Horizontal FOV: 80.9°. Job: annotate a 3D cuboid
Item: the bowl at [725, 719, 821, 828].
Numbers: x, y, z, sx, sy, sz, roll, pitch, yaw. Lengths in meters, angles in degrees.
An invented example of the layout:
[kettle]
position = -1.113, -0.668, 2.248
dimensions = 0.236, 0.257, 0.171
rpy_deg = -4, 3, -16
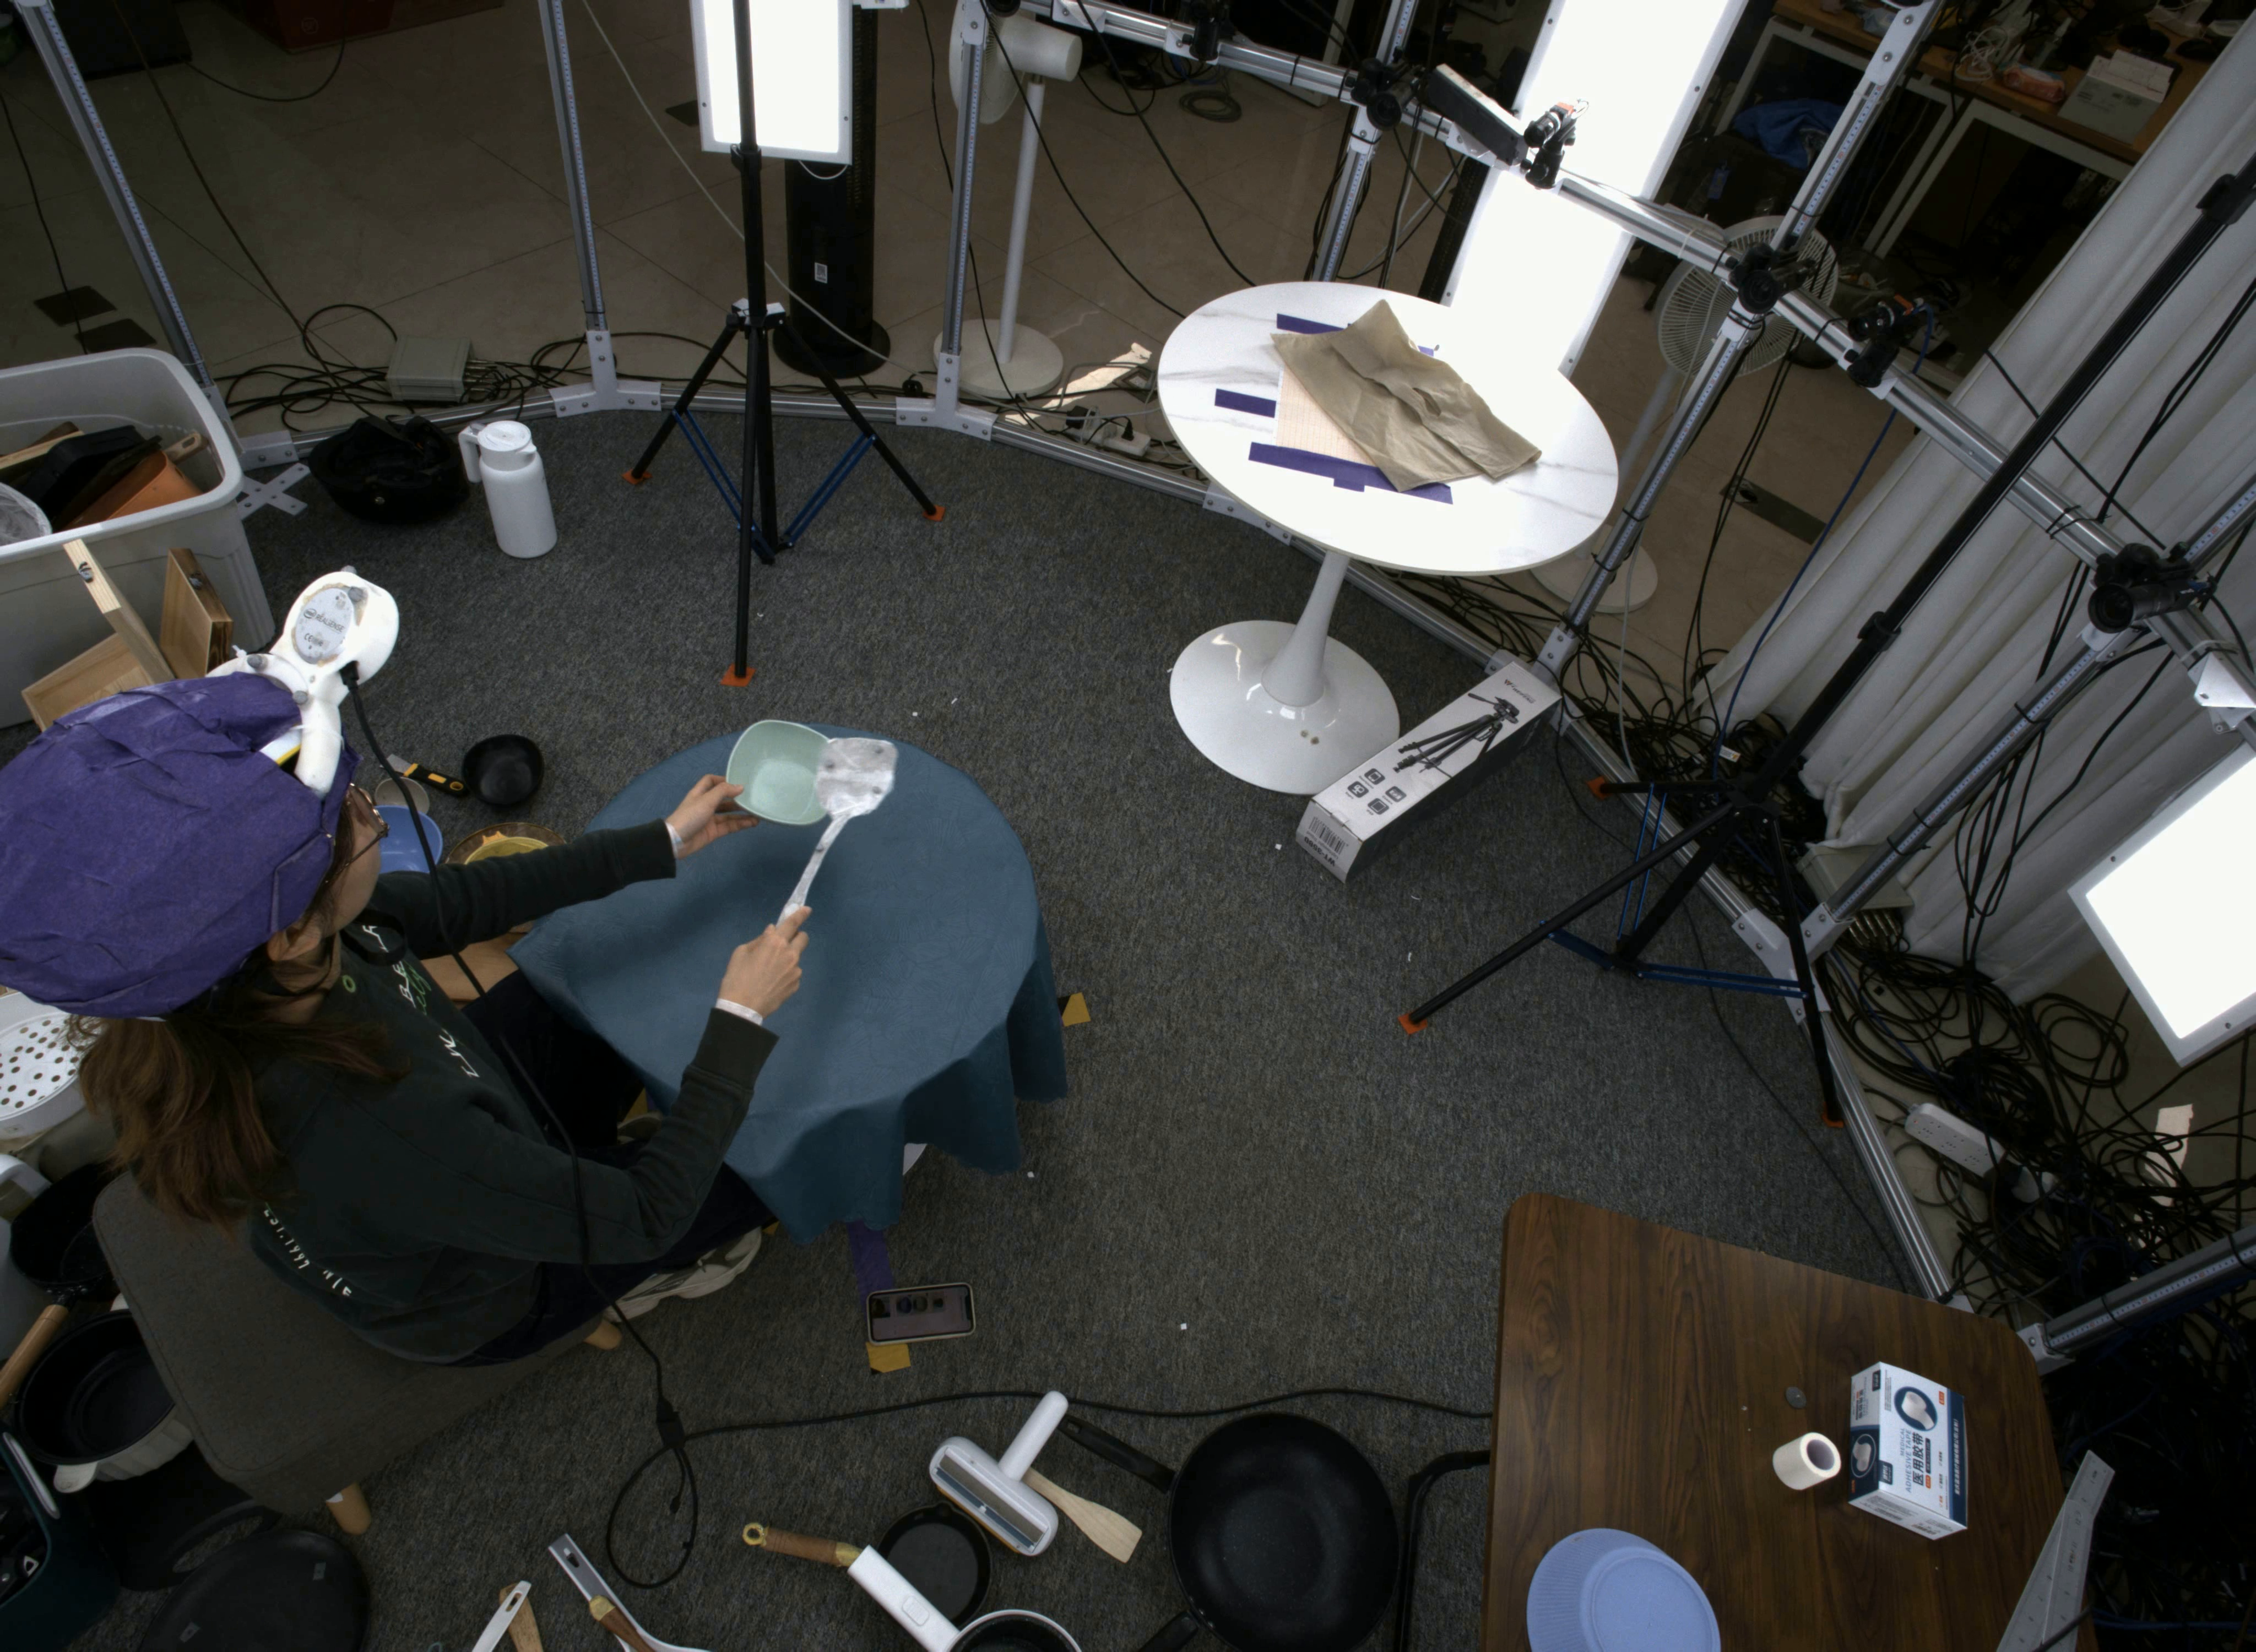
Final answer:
[bowl]
position = -0.431, -0.055, 1.612
dimensions = 0.153, 0.059, 0.149
rpy_deg = 13, 58, -20

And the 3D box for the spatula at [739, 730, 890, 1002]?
[spatula]
position = -0.358, 0.034, 1.442
dimensions = 0.096, 0.046, 0.360
rpy_deg = 6, 49, 11
